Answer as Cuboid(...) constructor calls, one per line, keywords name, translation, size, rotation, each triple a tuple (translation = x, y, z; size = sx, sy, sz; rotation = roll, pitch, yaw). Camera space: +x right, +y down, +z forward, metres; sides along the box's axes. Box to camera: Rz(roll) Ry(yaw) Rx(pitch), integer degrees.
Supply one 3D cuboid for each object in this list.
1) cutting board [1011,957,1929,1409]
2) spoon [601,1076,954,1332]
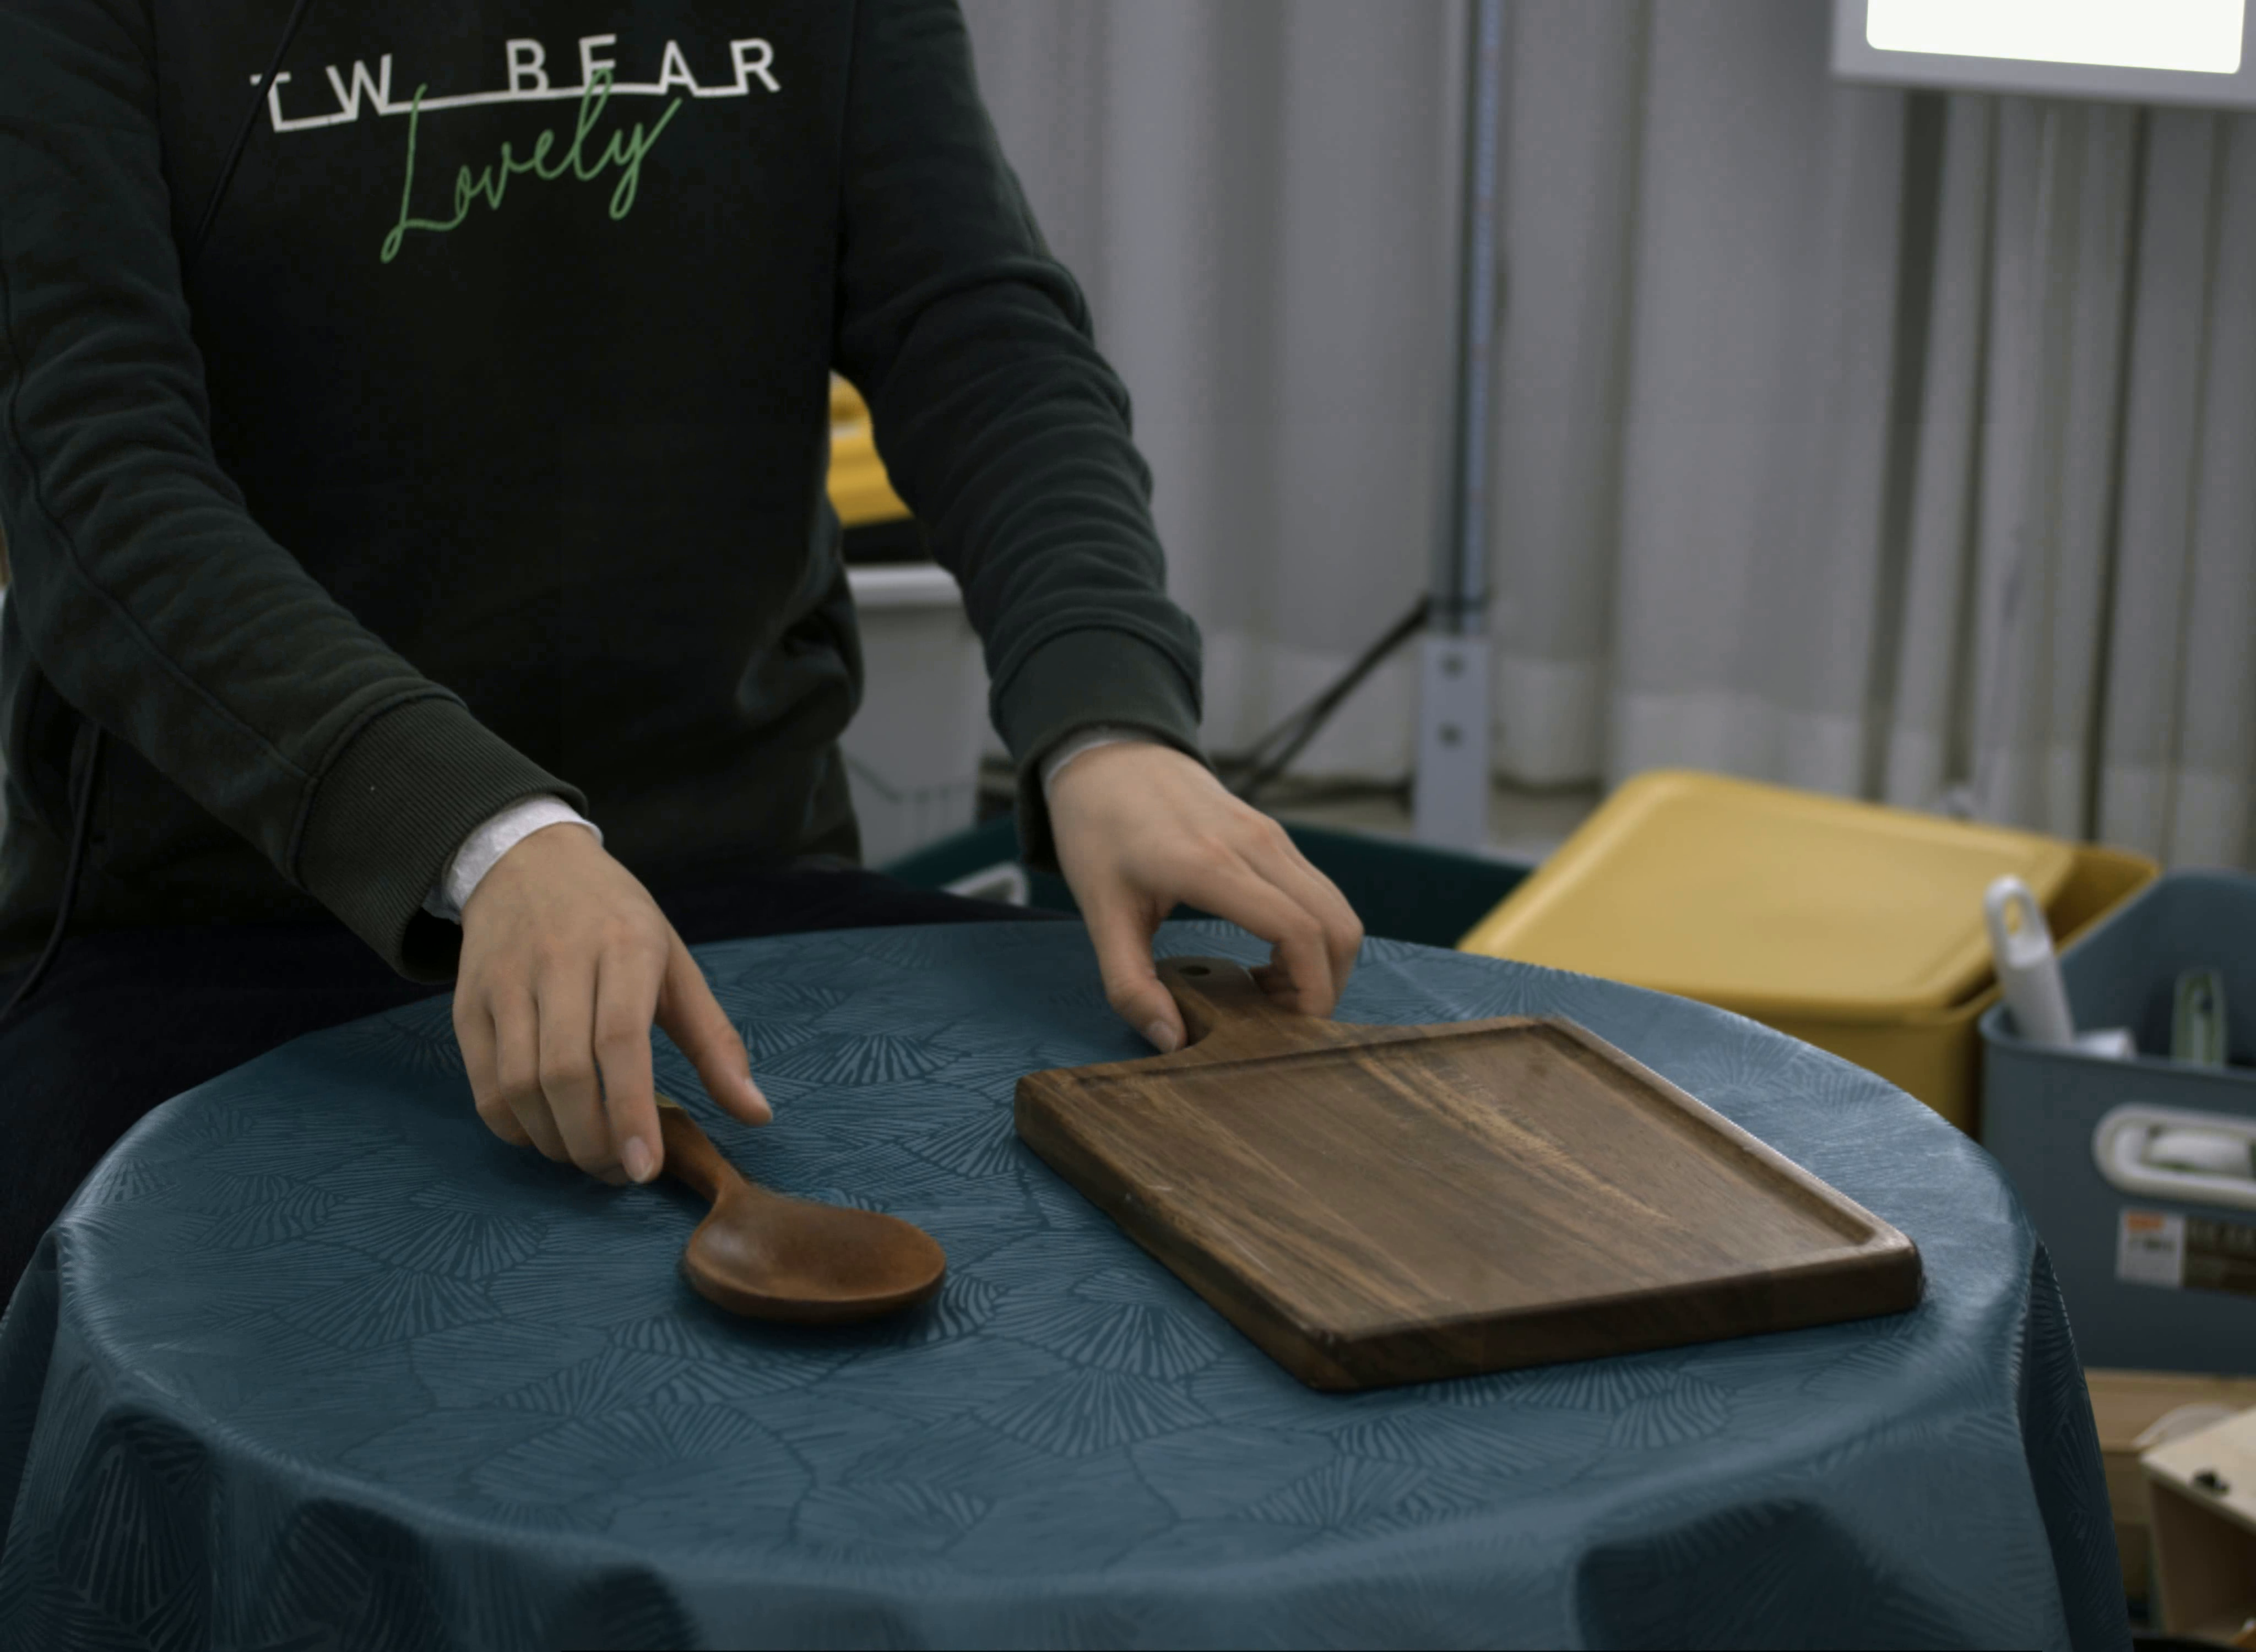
Cuboid(name="cutting board", translation=(0.080, 0.099, 1.647), size=(0.201, 0.023, 0.348), rotation=(-7, 17, -21))
Cuboid(name="spoon", translation=(-0.115, 0.114, 1.584), size=(0.076, 0.017, 0.213), rotation=(-8, 19, -23))
